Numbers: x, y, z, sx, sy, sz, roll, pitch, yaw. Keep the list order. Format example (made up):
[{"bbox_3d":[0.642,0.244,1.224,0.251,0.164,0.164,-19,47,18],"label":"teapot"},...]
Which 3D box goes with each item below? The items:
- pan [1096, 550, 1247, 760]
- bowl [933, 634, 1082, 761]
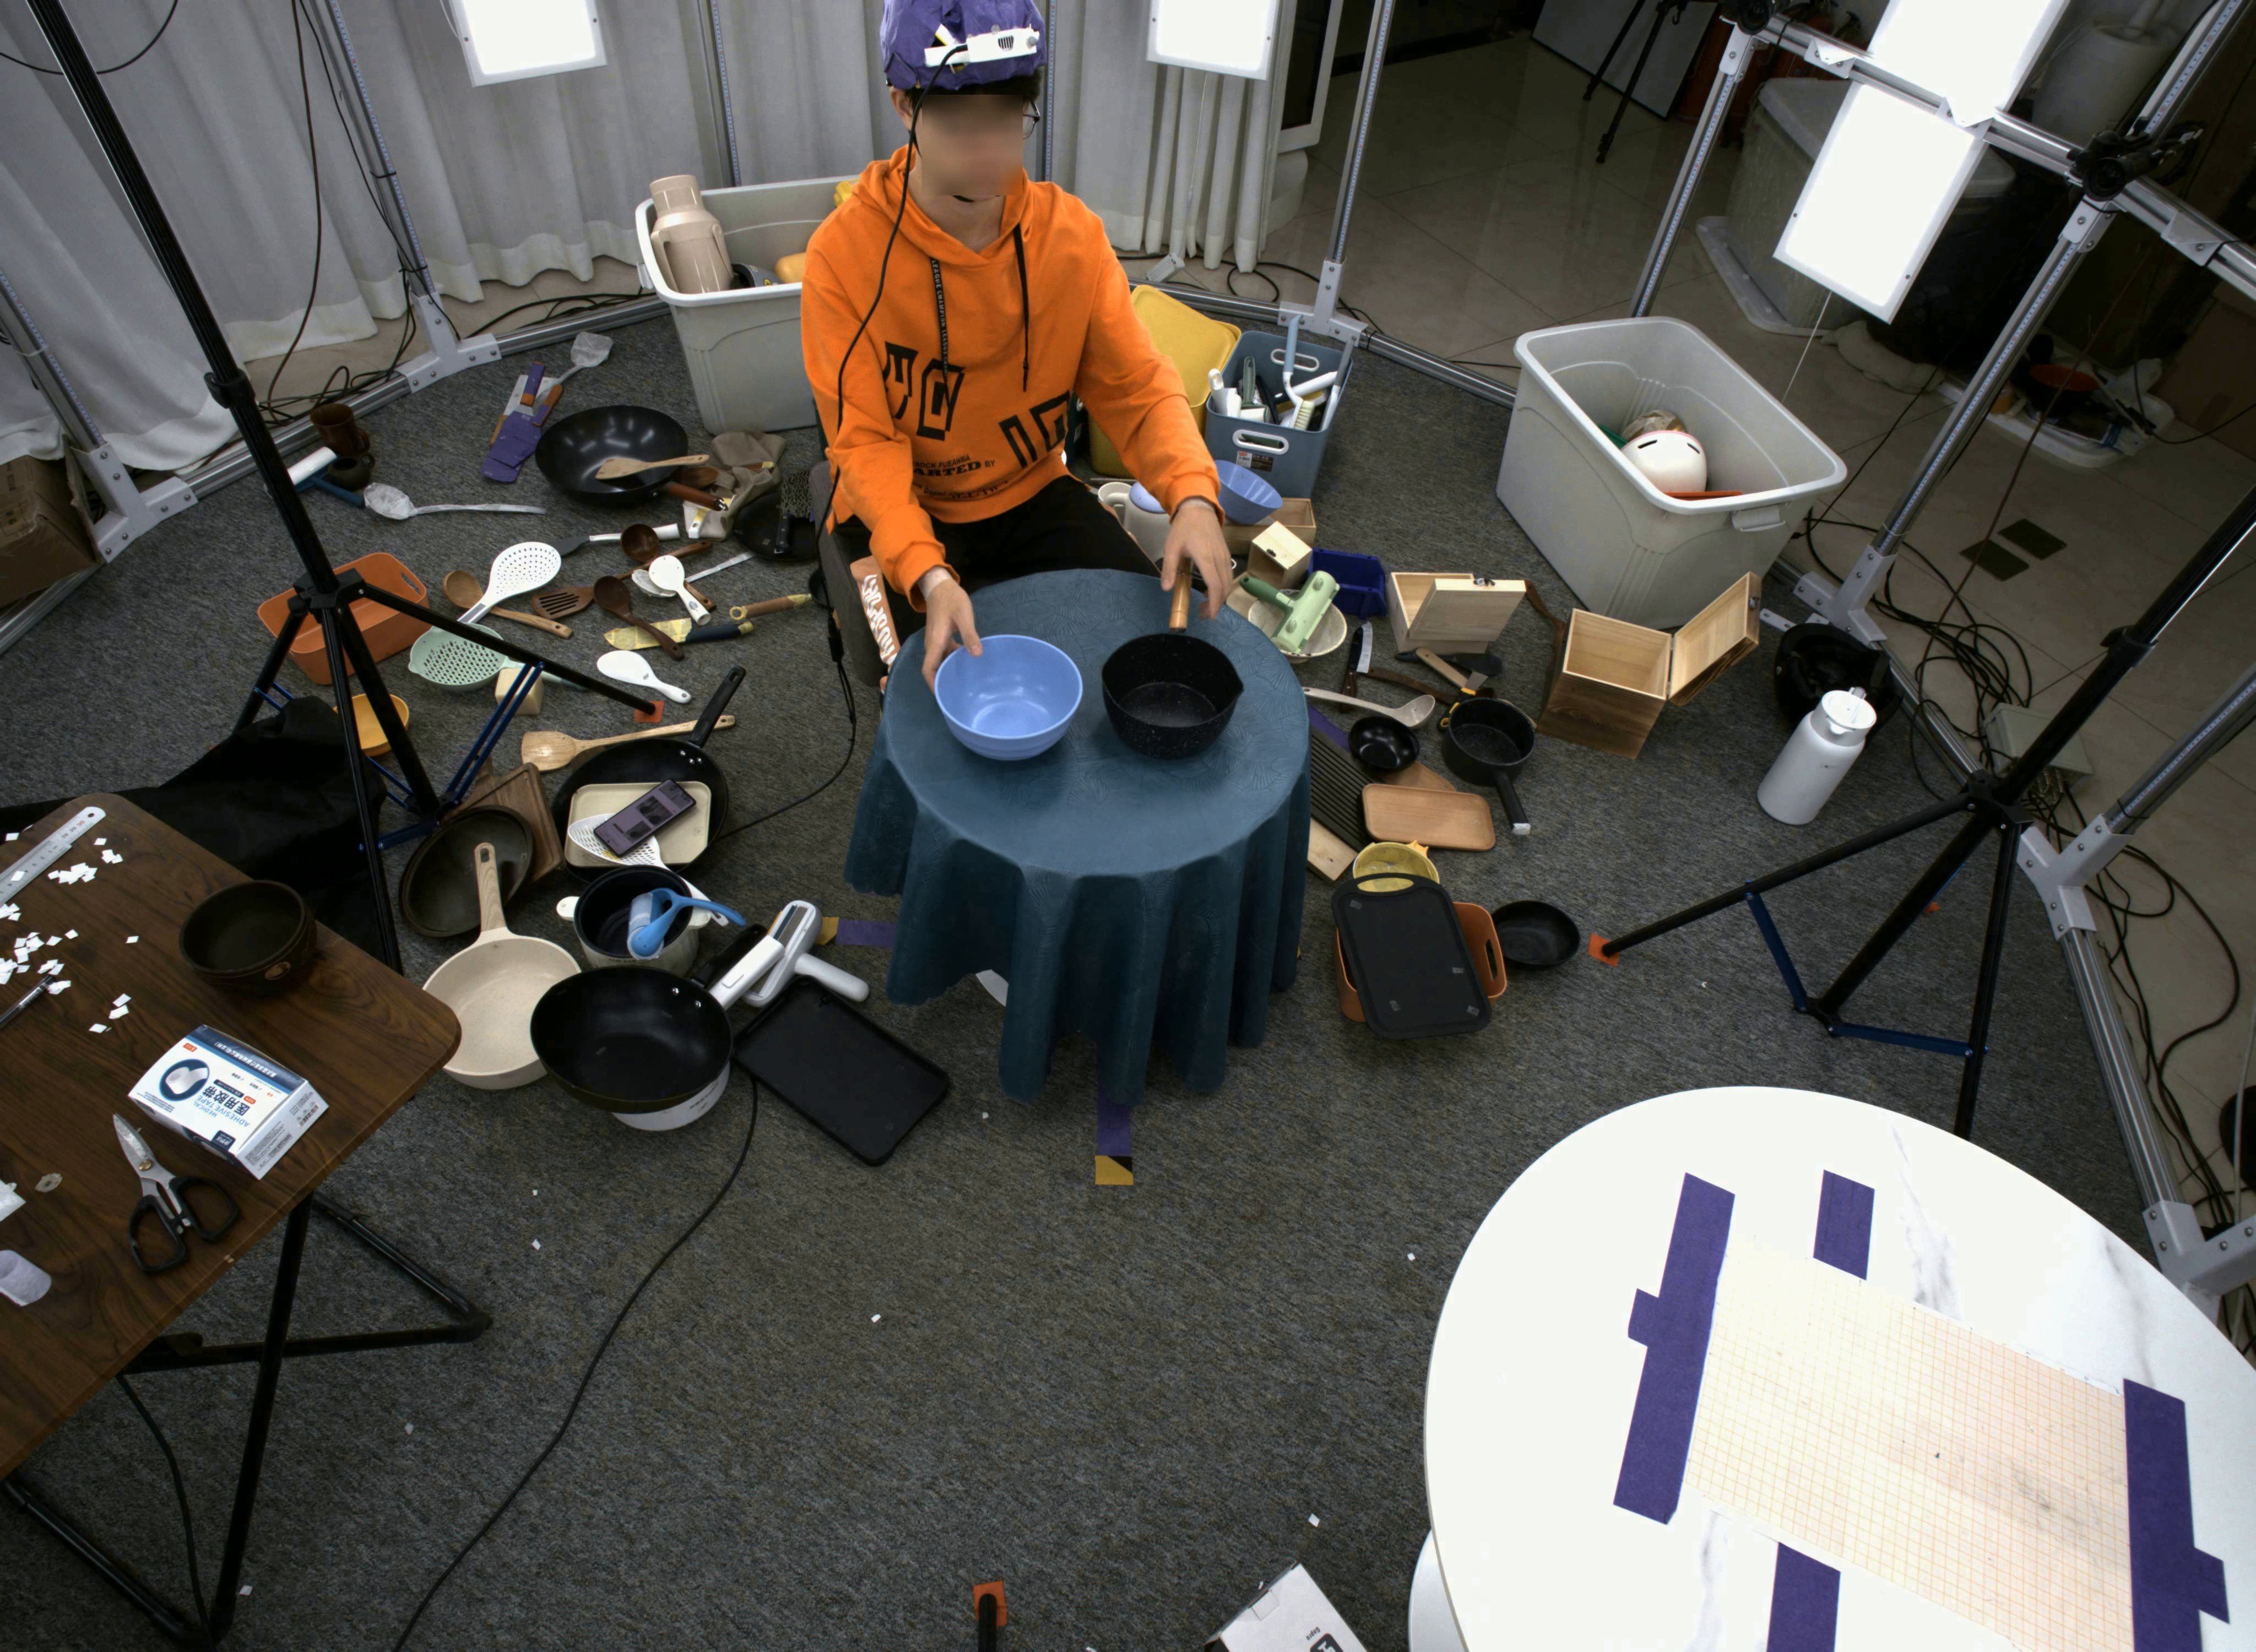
[{"bbox_3d":[0.064,-0.242,1.814,0.207,0.105,0.351,5,50,2],"label":"pan"},{"bbox_3d":[-0.161,-0.158,1.733,0.196,0.093,0.201,1,50,-2],"label":"bowl"}]
